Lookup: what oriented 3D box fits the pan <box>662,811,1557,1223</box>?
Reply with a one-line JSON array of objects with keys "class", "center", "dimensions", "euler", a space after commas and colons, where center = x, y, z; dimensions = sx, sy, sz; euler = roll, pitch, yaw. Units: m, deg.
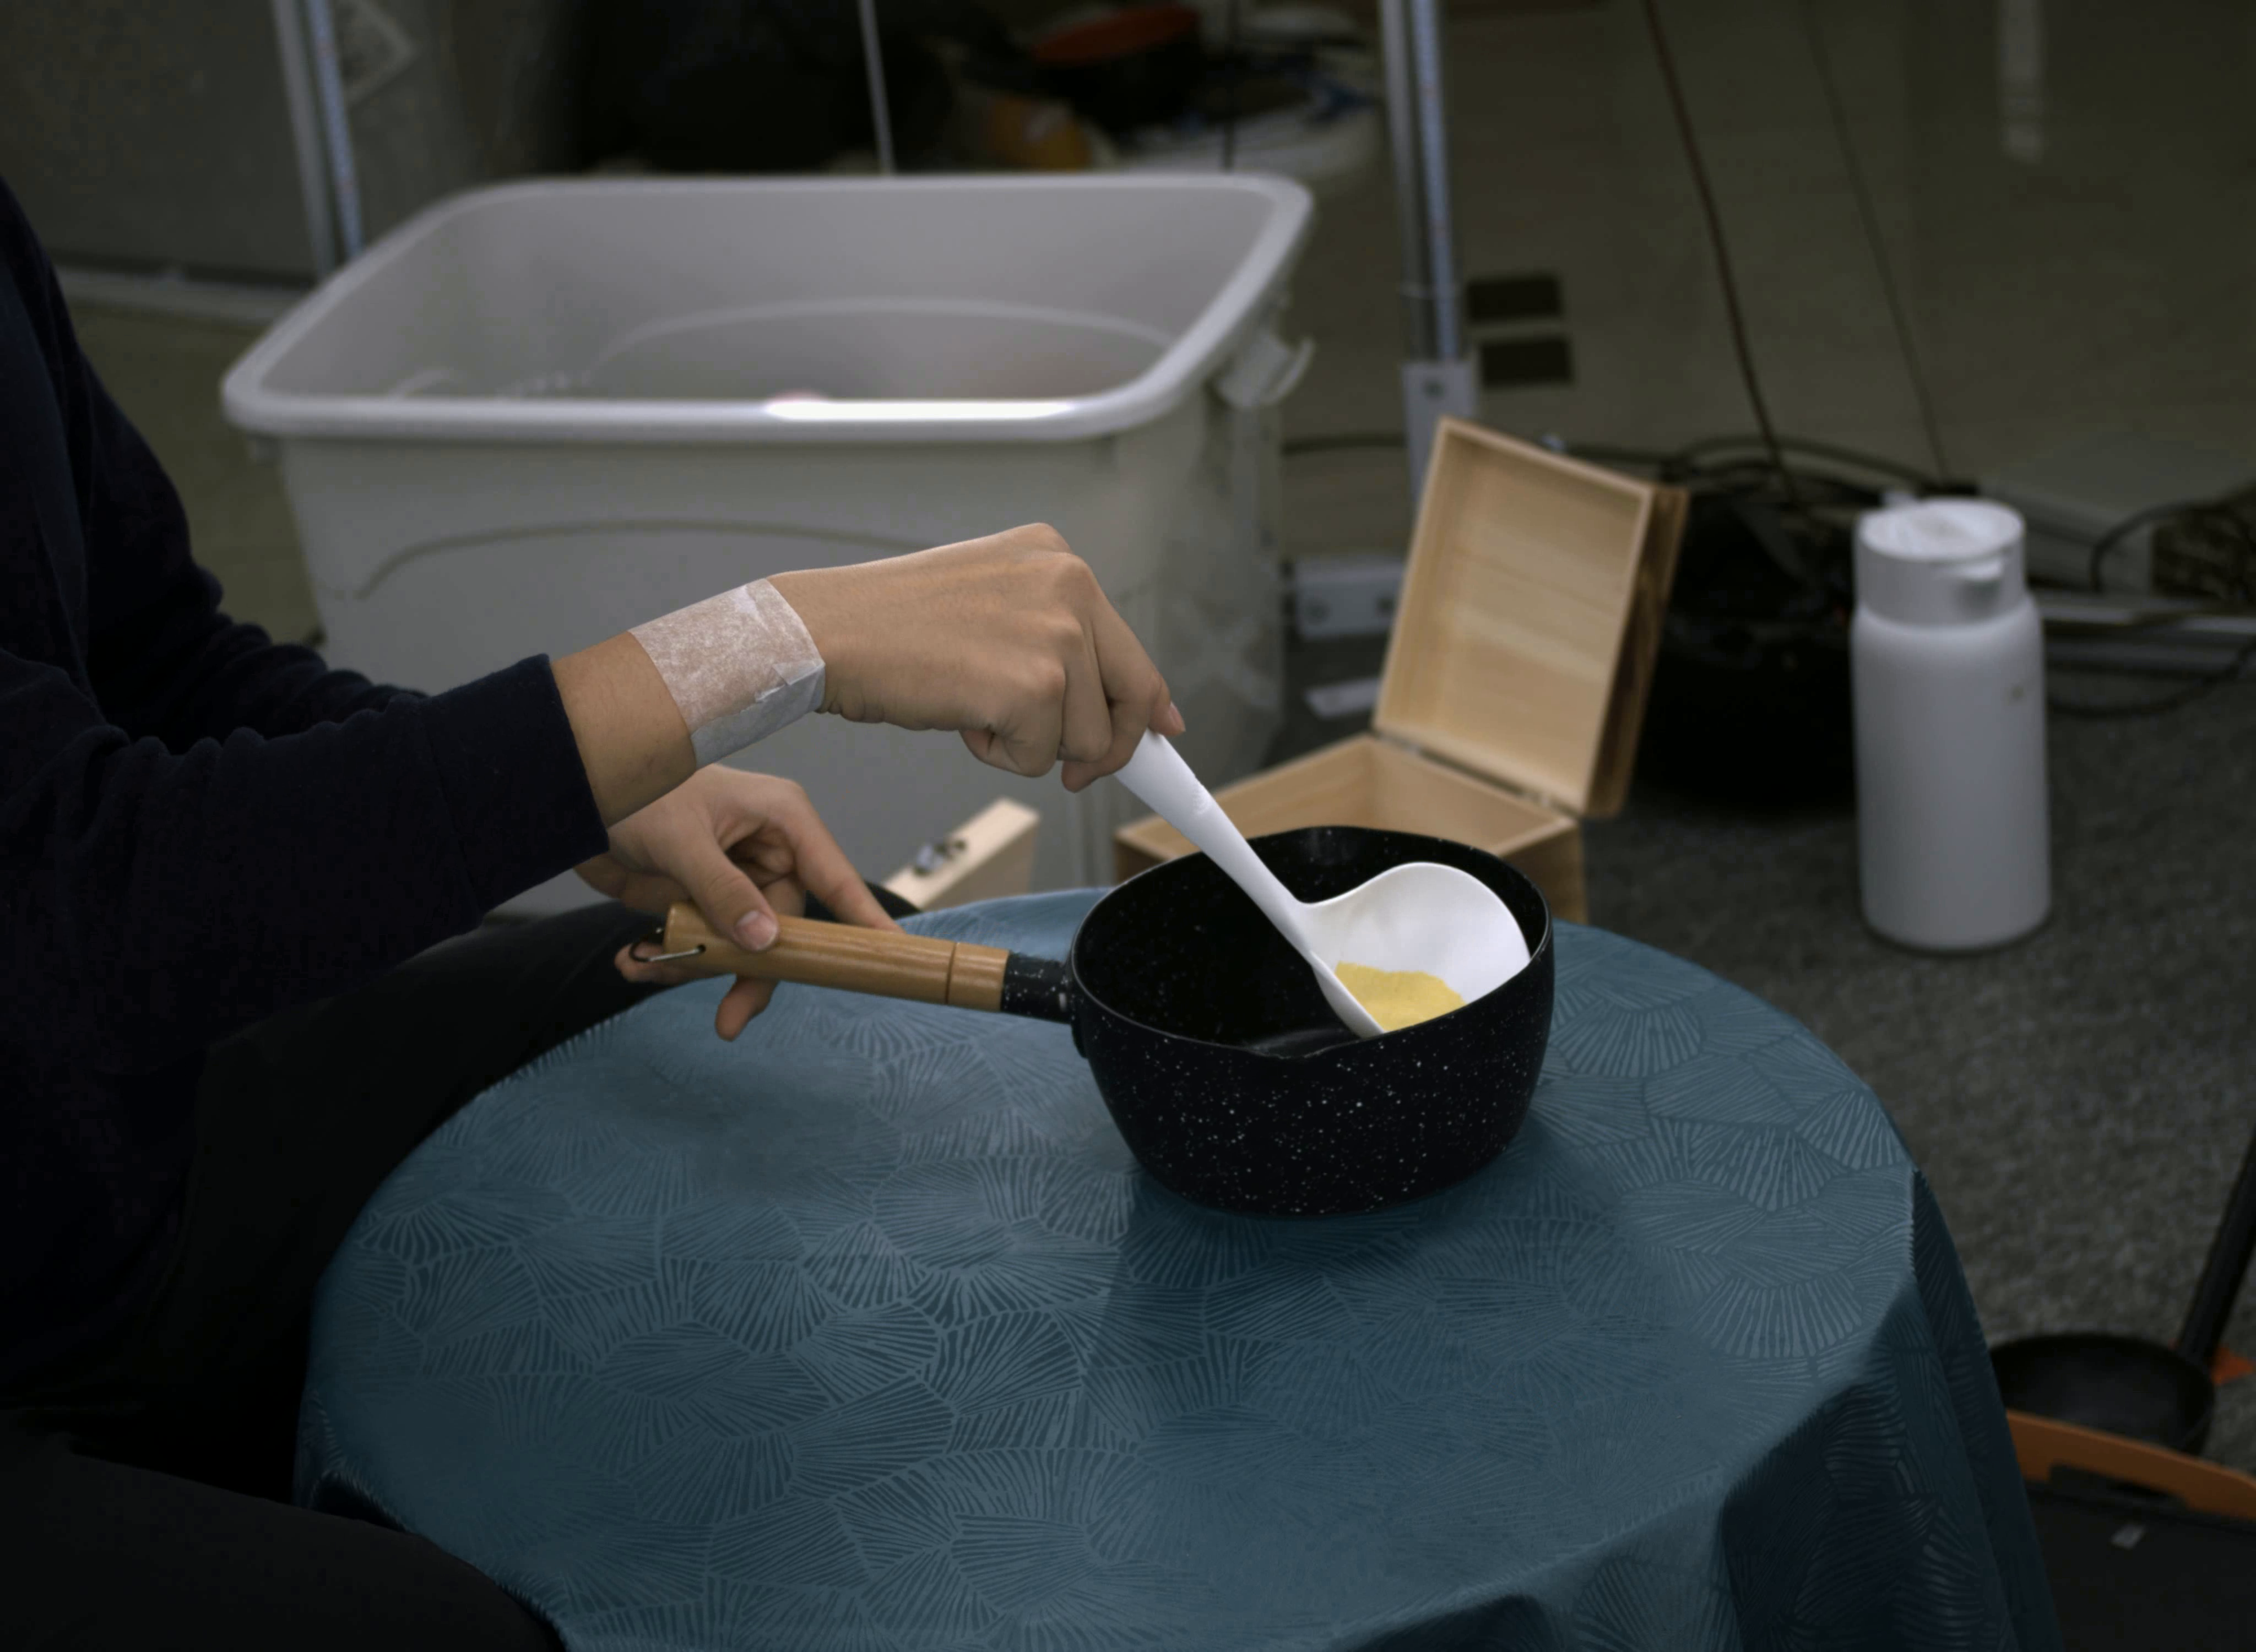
[{"class": "pan", "center": [-0.007, 0.071, 2.164], "dimensions": [0.342, 0.110, 0.204], "euler": [-2, 27, 7]}]

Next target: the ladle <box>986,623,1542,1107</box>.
[{"class": "ladle", "center": [0.053, 0.009, 2.025], "dimensions": [0.070, 0.297, 0.089], "euler": [-6, 60, 30]}]
